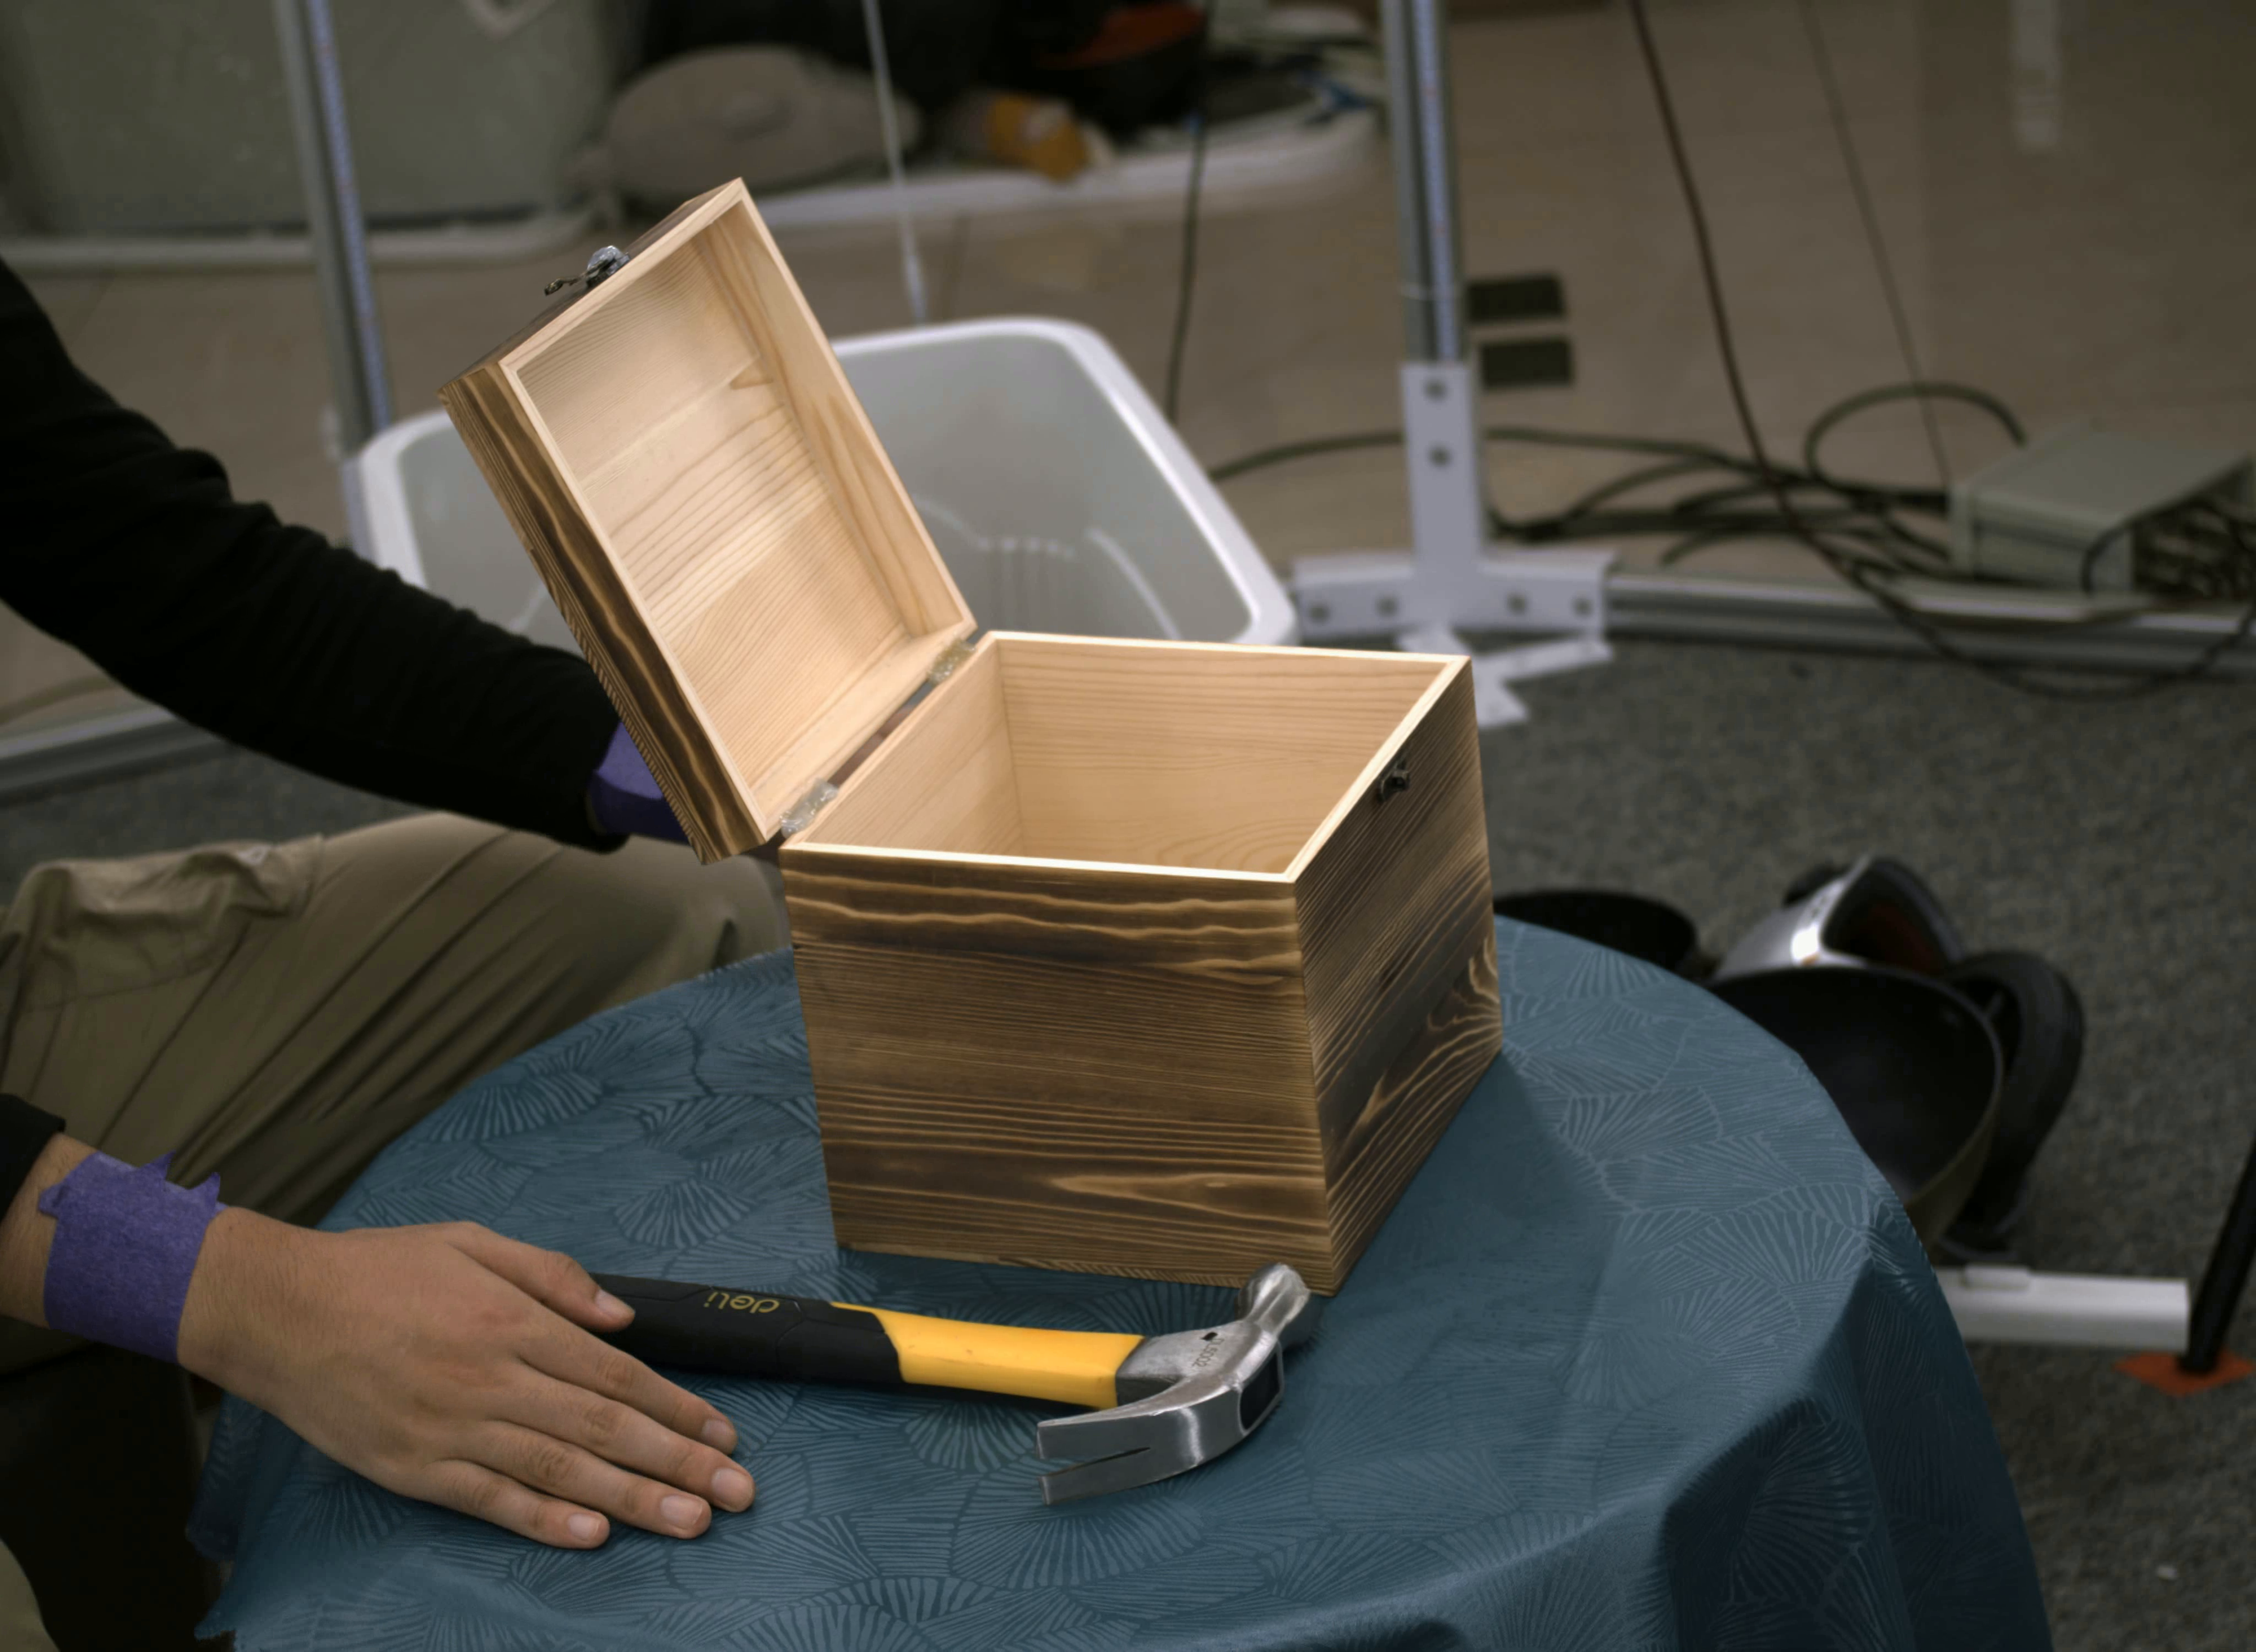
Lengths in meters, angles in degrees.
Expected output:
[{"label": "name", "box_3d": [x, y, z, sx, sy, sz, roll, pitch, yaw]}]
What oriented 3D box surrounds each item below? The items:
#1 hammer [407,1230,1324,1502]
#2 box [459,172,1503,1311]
[{"label": "hammer", "box_3d": [-0.108, 0.180, 2.043, 0.337, 0.033, 0.129, 6, 28, 23]}, {"label": "box", "box_3d": [-0.048, -0.040, 2.117, 0.321, 0.381, 0.206, 4, 28, 22]}]
